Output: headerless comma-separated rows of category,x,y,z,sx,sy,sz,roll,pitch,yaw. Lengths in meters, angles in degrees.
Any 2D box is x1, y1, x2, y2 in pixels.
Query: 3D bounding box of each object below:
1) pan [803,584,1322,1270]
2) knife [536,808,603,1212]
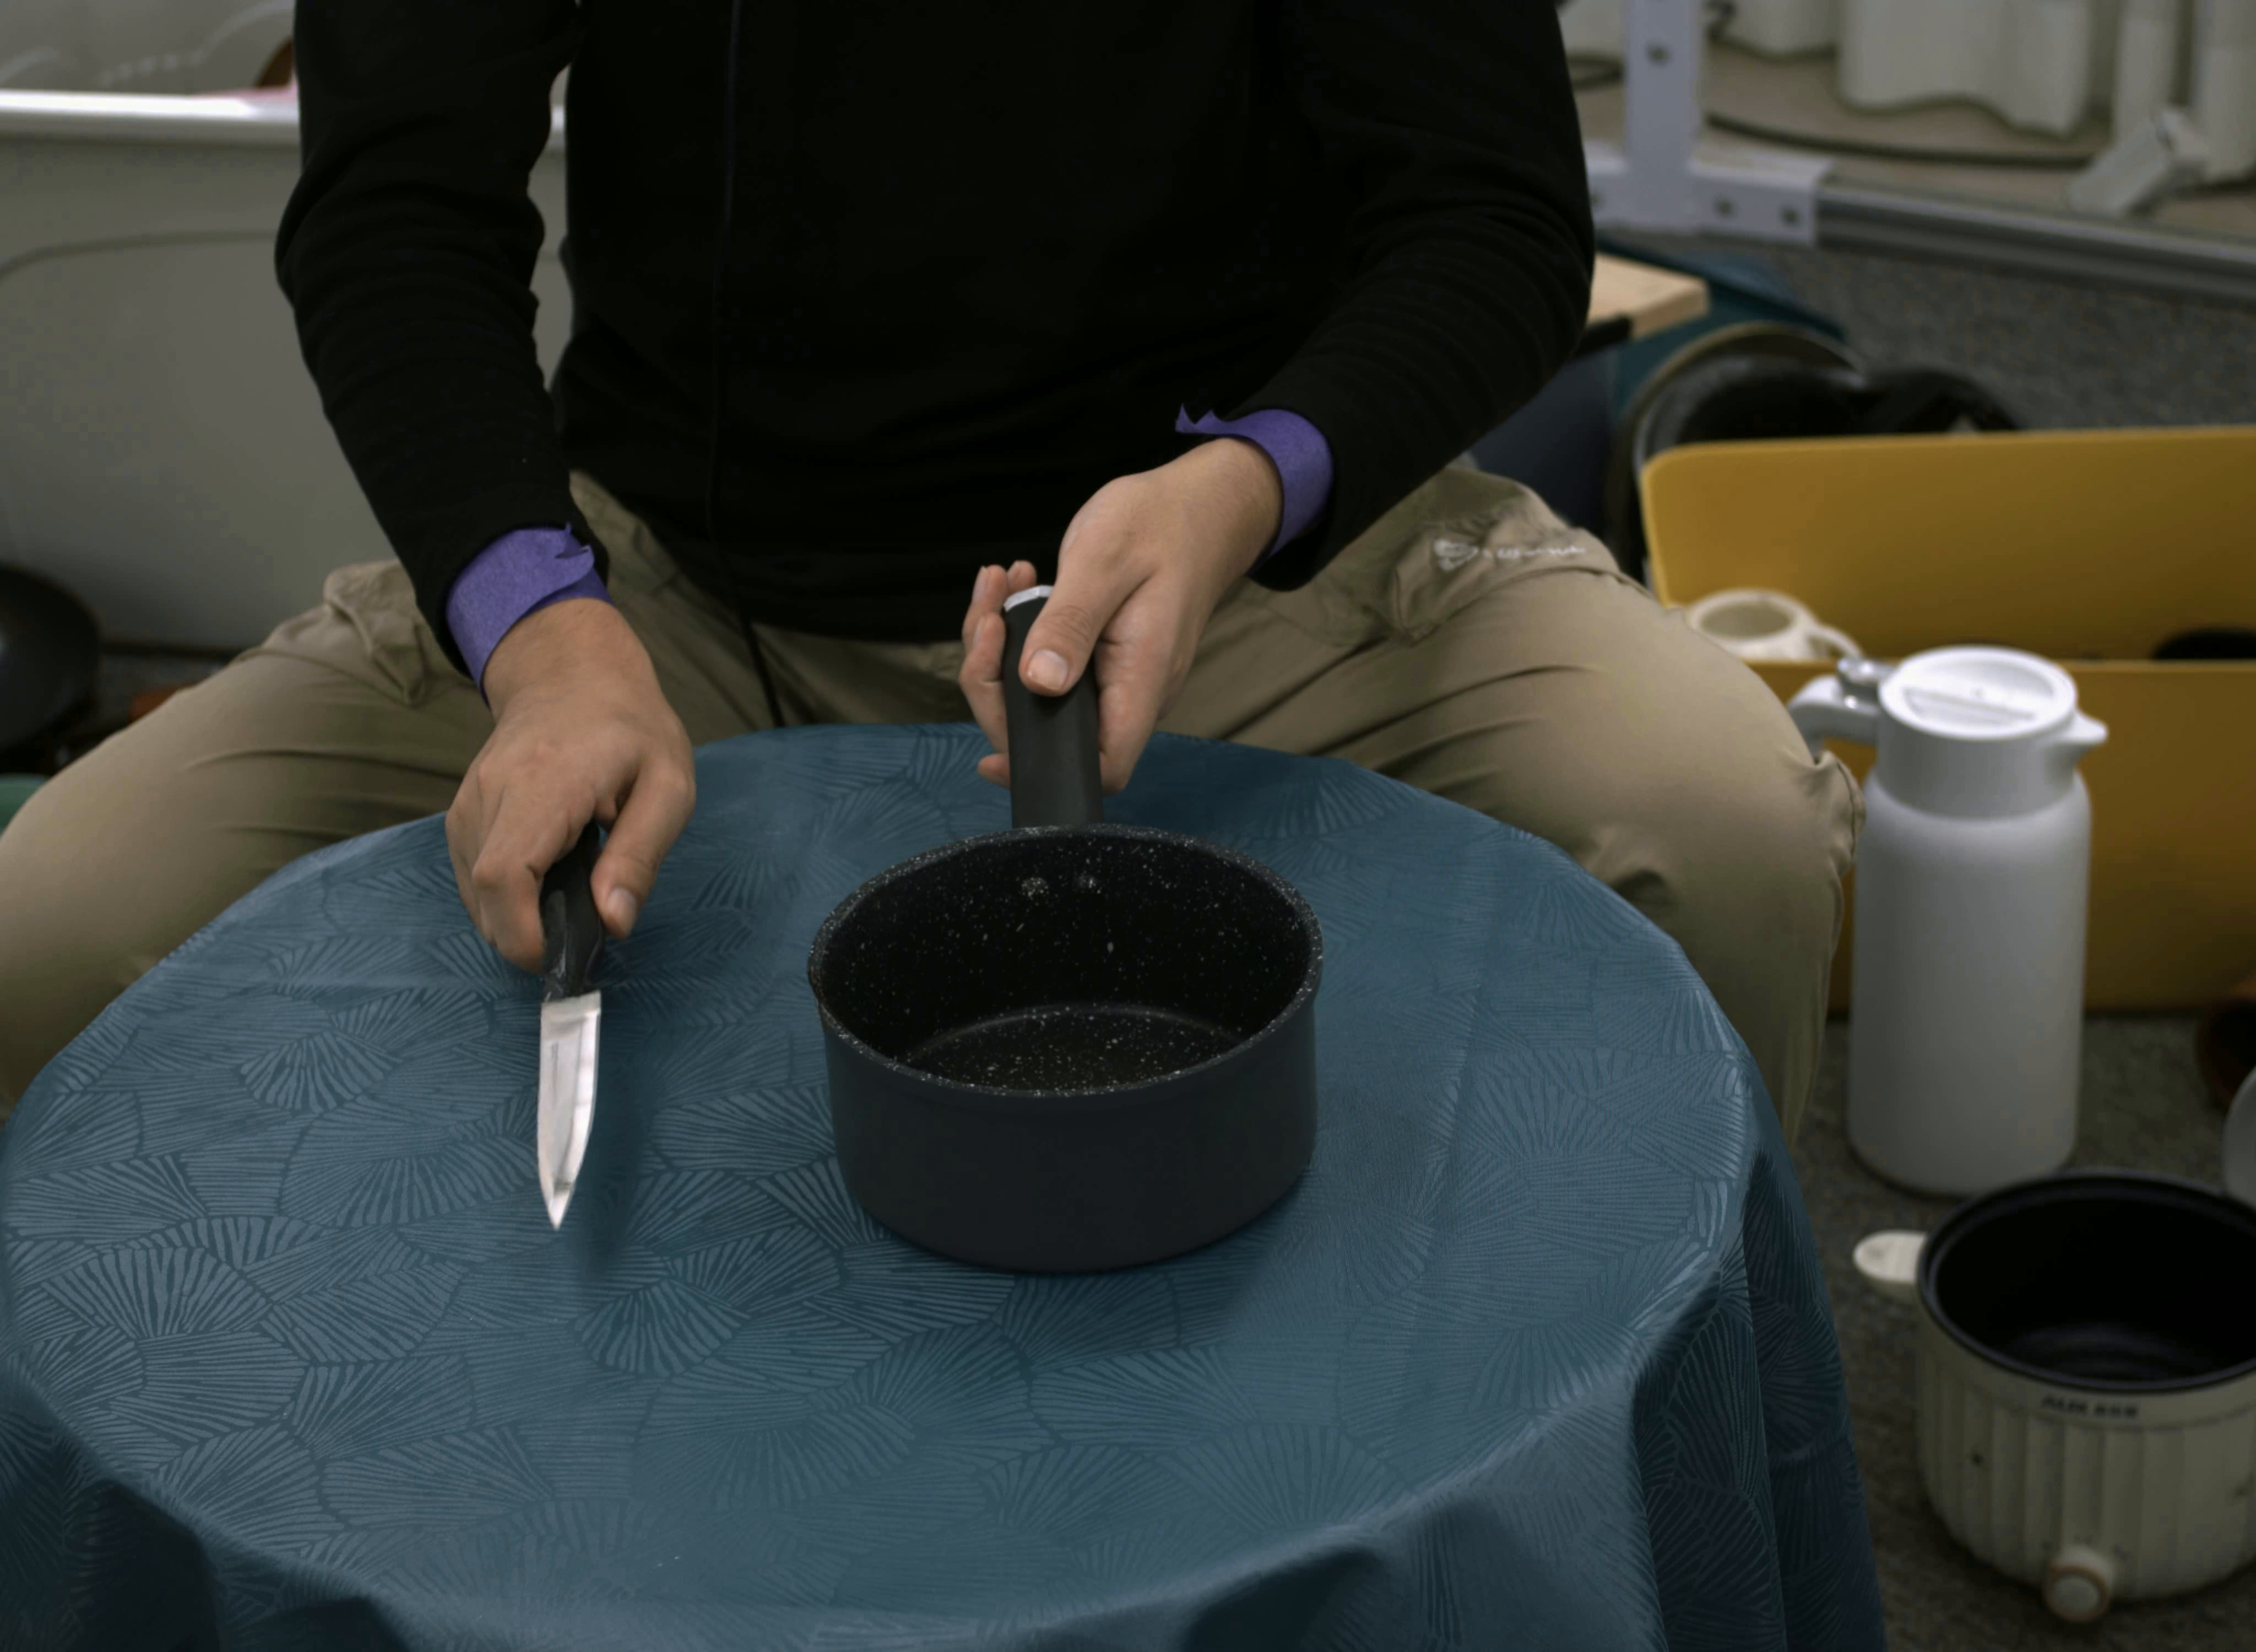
pan,-0.019,0.031,1.933,0.171,0.085,0.334,-1,30,2
knife,-0.189,0.062,1.903,0.024,0.016,0.242,-18,31,6
